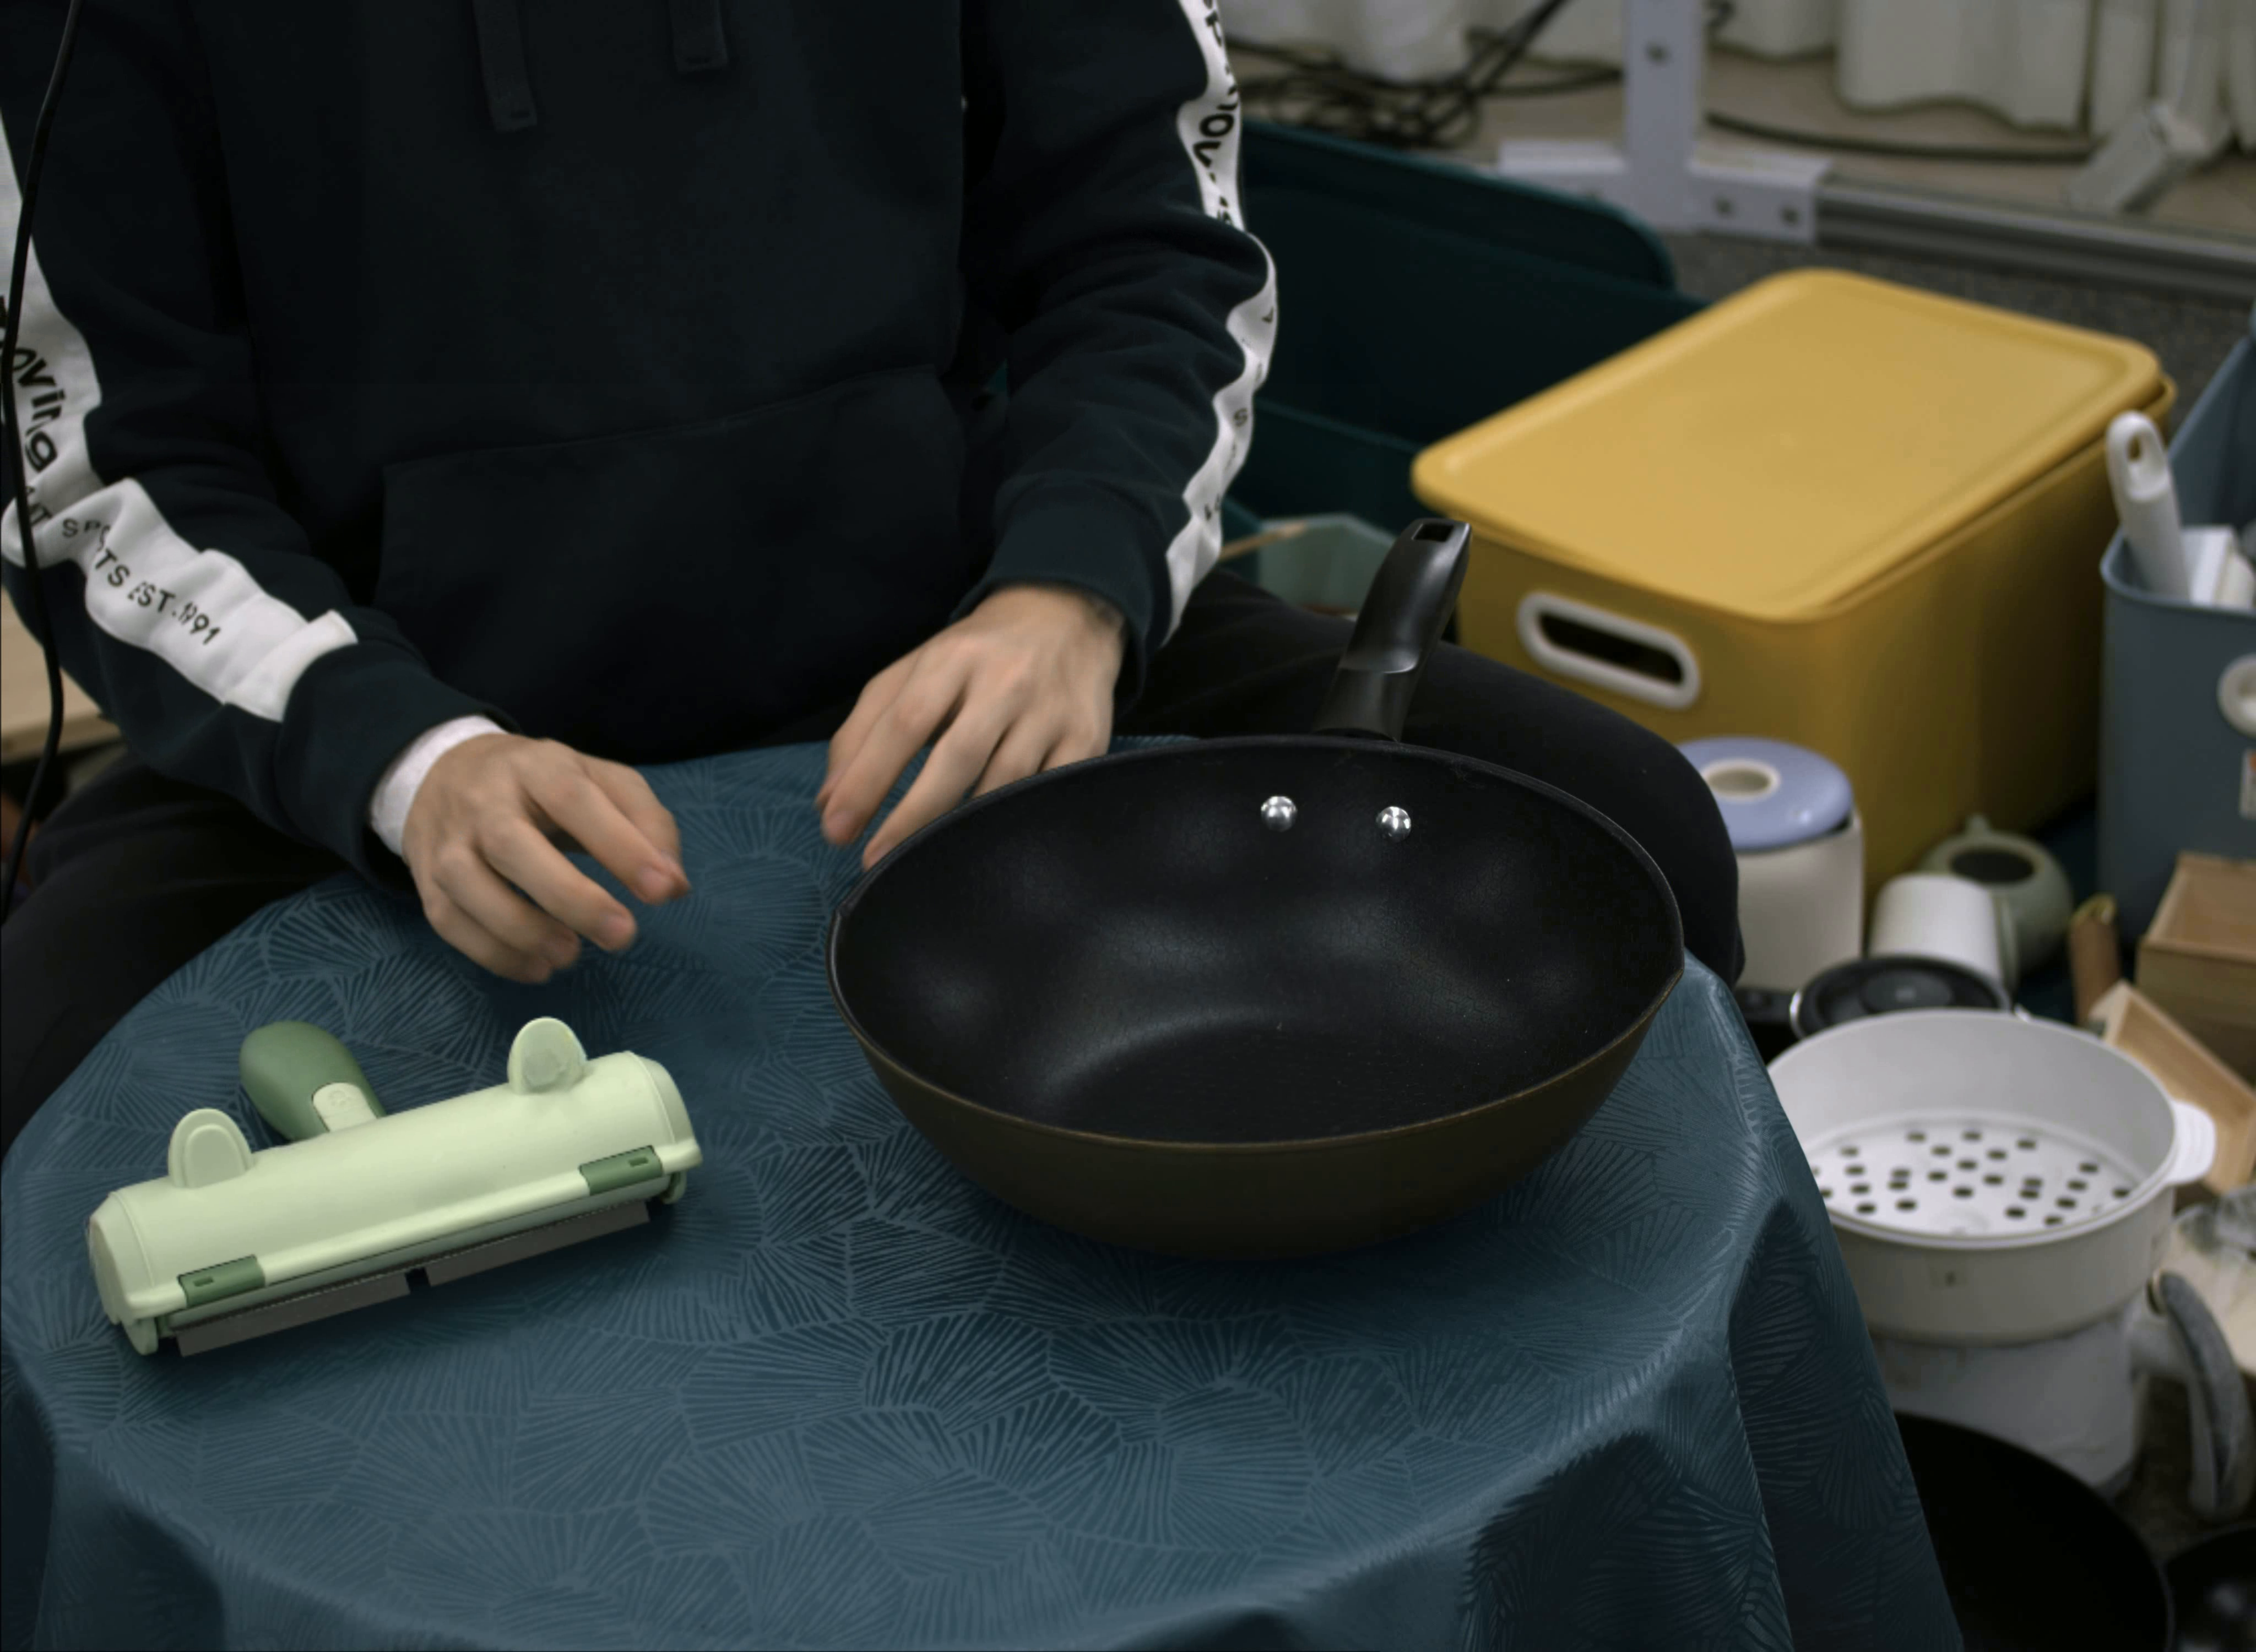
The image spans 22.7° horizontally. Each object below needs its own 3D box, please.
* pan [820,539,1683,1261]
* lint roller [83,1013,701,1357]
[{"bbox_3d":[0.062,0.027,1.948,0.286,0.086,0.471,5,27,12],"label":"pan"},{"bbox_3d":[-0.262,0.090,1.866,0.199,0.081,0.185,-15,35,-21],"label":"lint roller"}]
